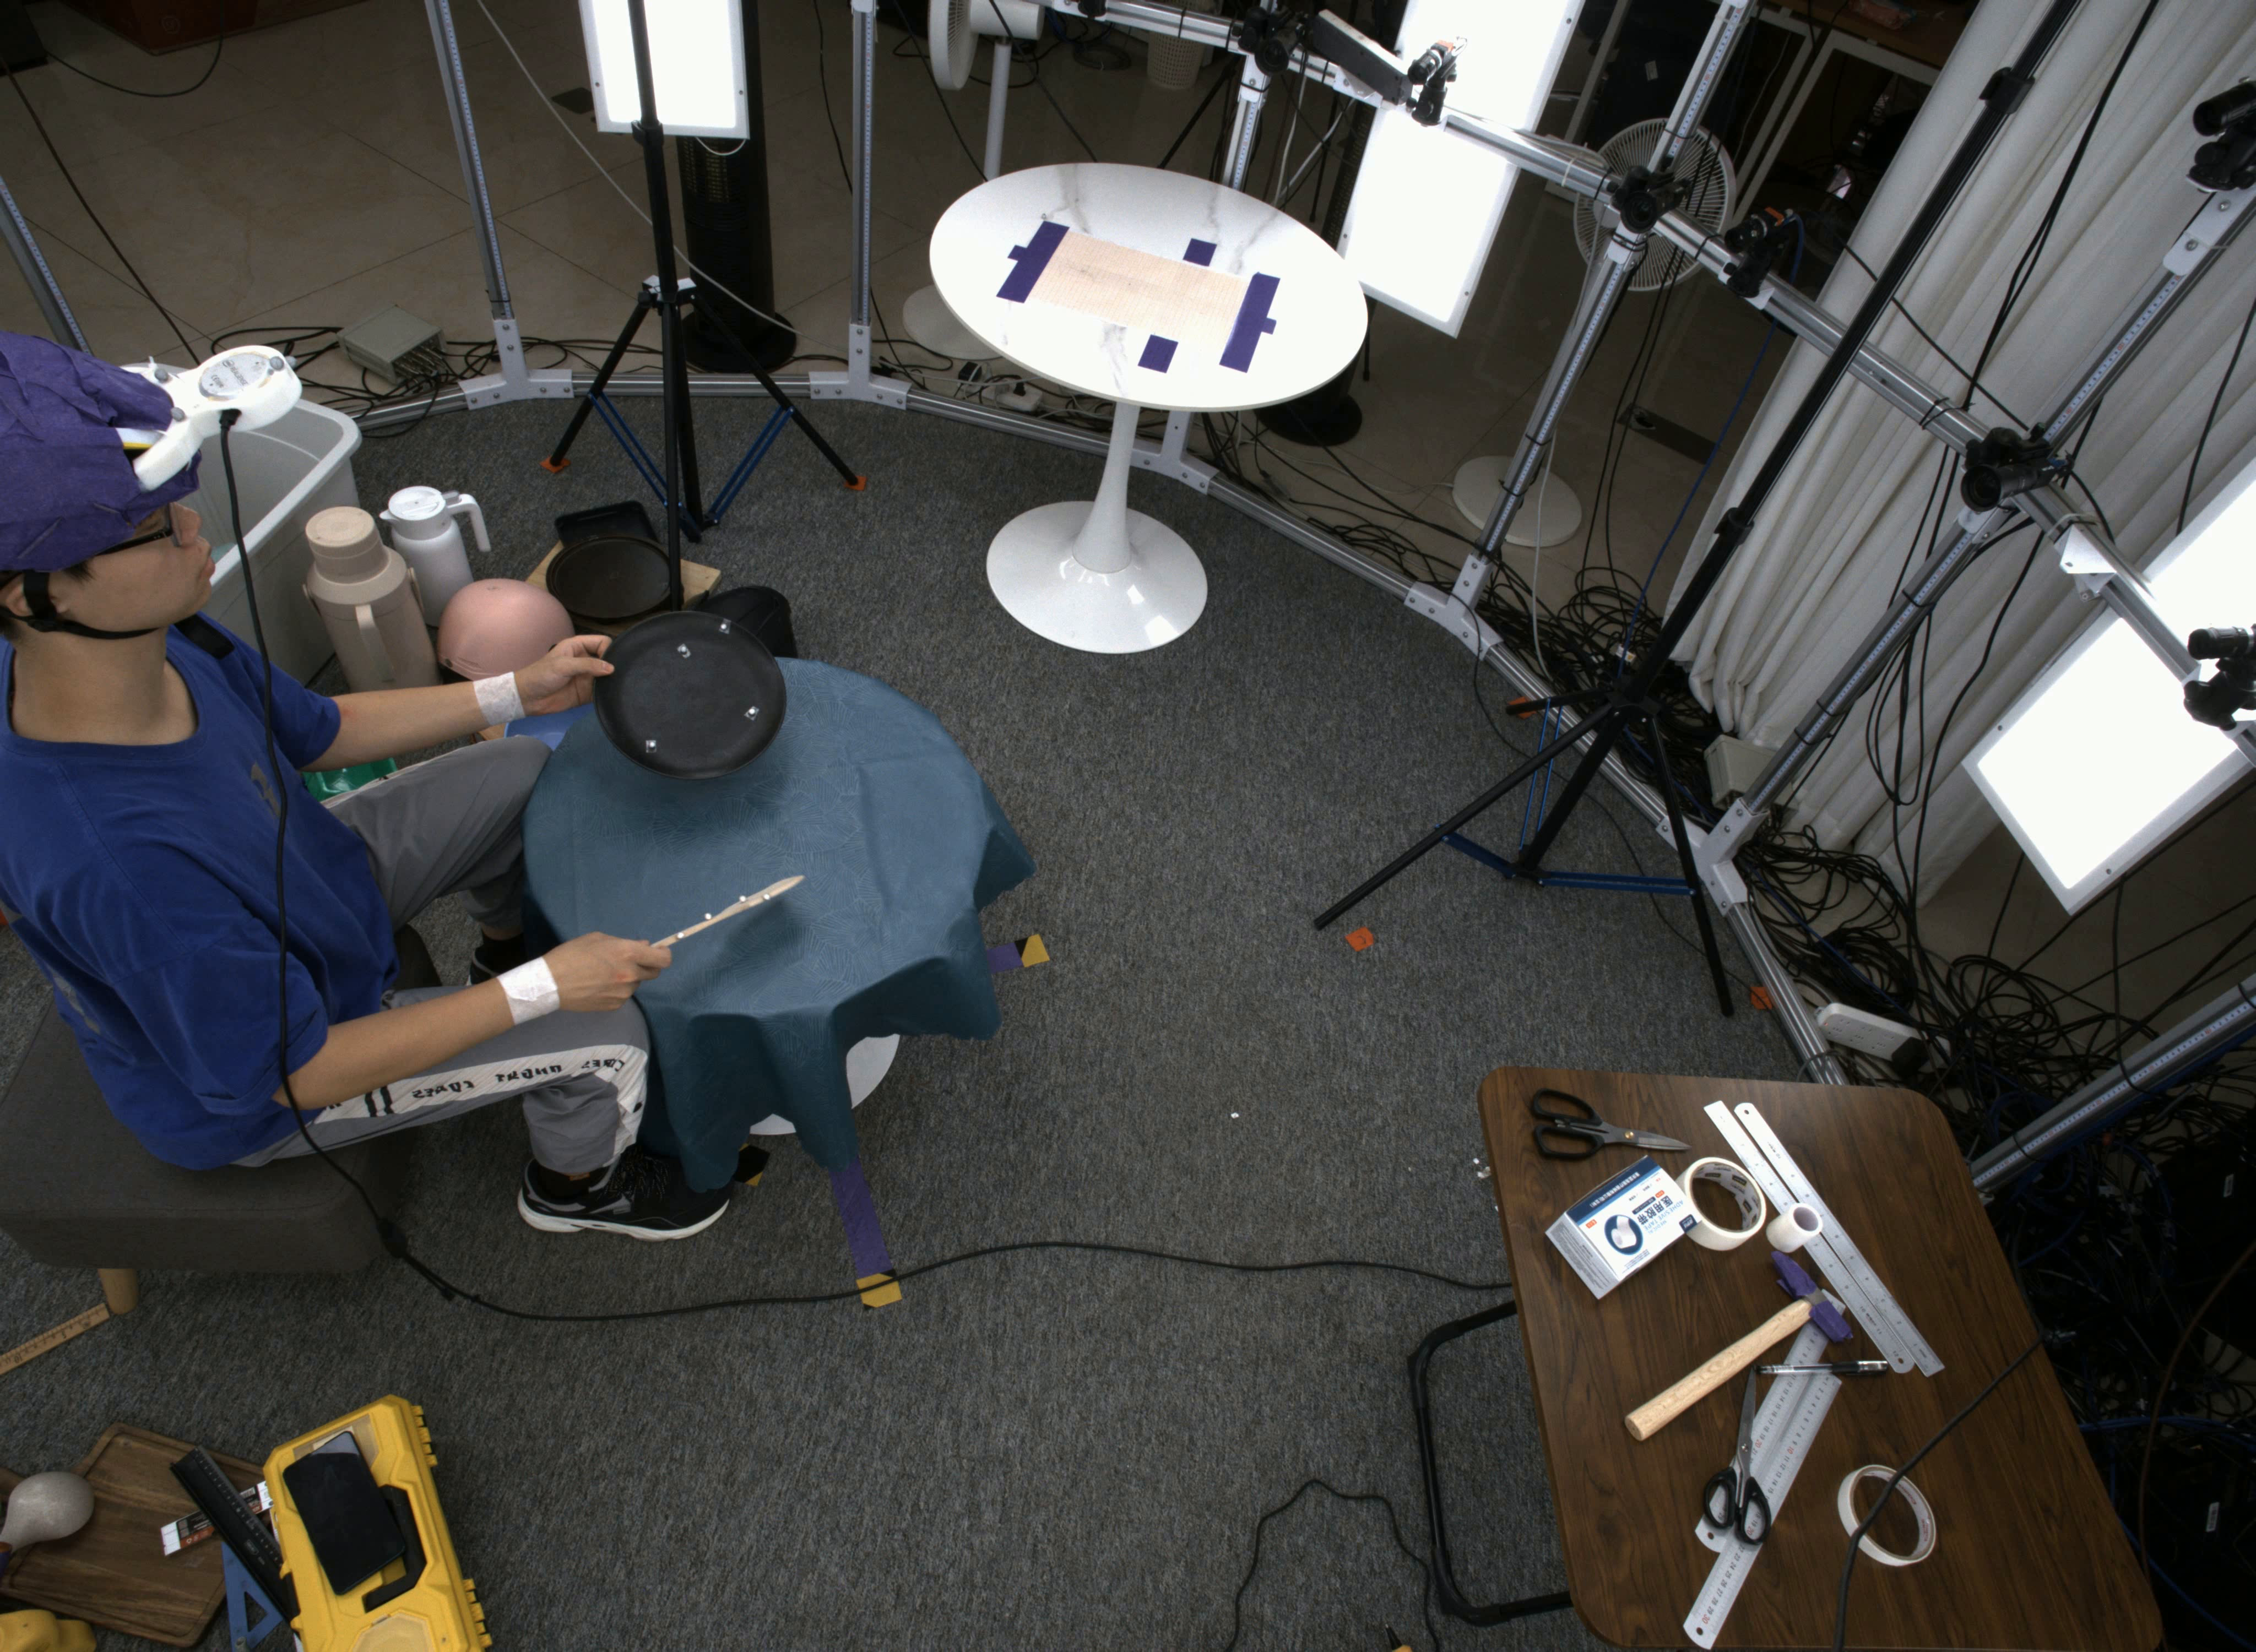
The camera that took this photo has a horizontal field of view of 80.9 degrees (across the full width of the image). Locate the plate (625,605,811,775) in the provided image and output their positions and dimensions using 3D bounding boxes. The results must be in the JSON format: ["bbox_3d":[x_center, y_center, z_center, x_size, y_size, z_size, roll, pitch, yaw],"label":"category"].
[{"bbox_3d":[-0.541,-0.177,1.697,0.246,0.023,0.243,8,69,-19],"label":"plate"}]

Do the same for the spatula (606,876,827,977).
[{"bbox_3d":[-0.491,0.116,1.538,0.295,0.070,0.011,-27,102,-41],"label":"spatula"}]
